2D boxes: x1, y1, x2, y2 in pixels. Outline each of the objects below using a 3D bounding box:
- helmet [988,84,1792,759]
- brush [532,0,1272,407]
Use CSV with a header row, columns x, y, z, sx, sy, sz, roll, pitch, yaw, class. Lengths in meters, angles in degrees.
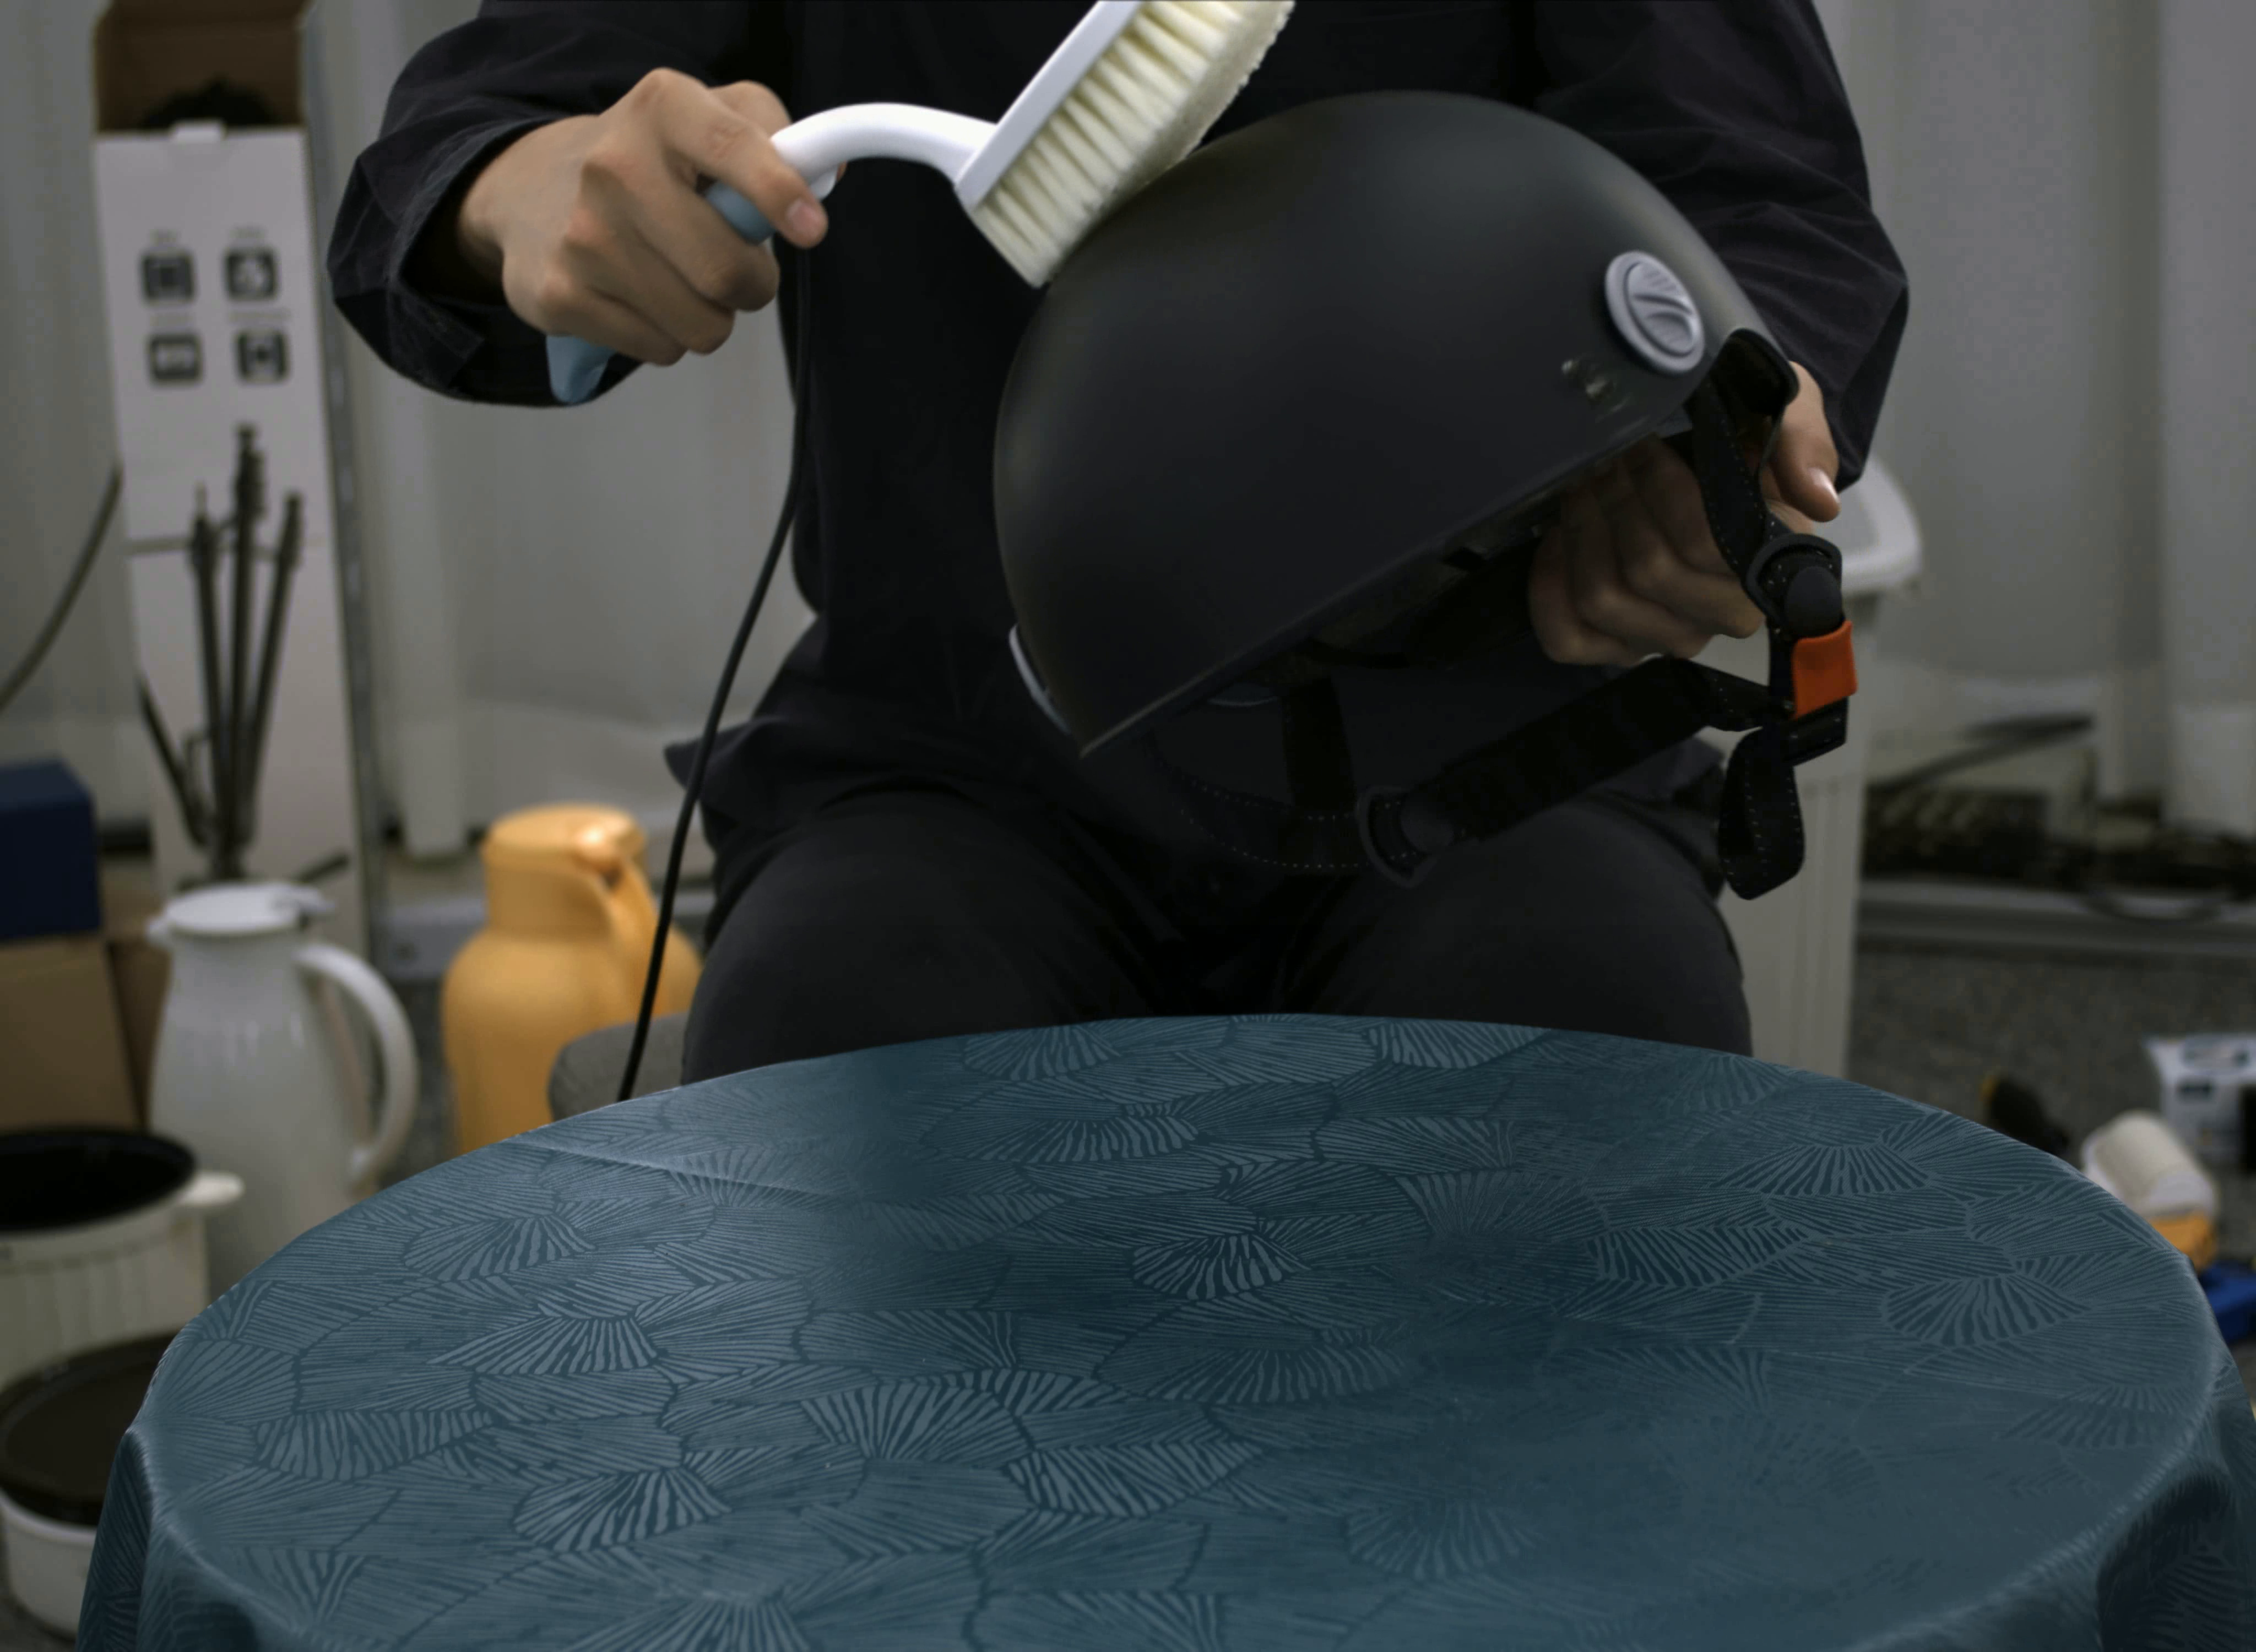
x,y,z,sx,sy,sz,roll,pitch,yaw,class
0.061,-0.129,1.611,0.229,0.168,0.272,-32,-9,27,helmet
-0.062,-0.177,1.658,0.082,0.085,0.324,4,-24,-42,brush
